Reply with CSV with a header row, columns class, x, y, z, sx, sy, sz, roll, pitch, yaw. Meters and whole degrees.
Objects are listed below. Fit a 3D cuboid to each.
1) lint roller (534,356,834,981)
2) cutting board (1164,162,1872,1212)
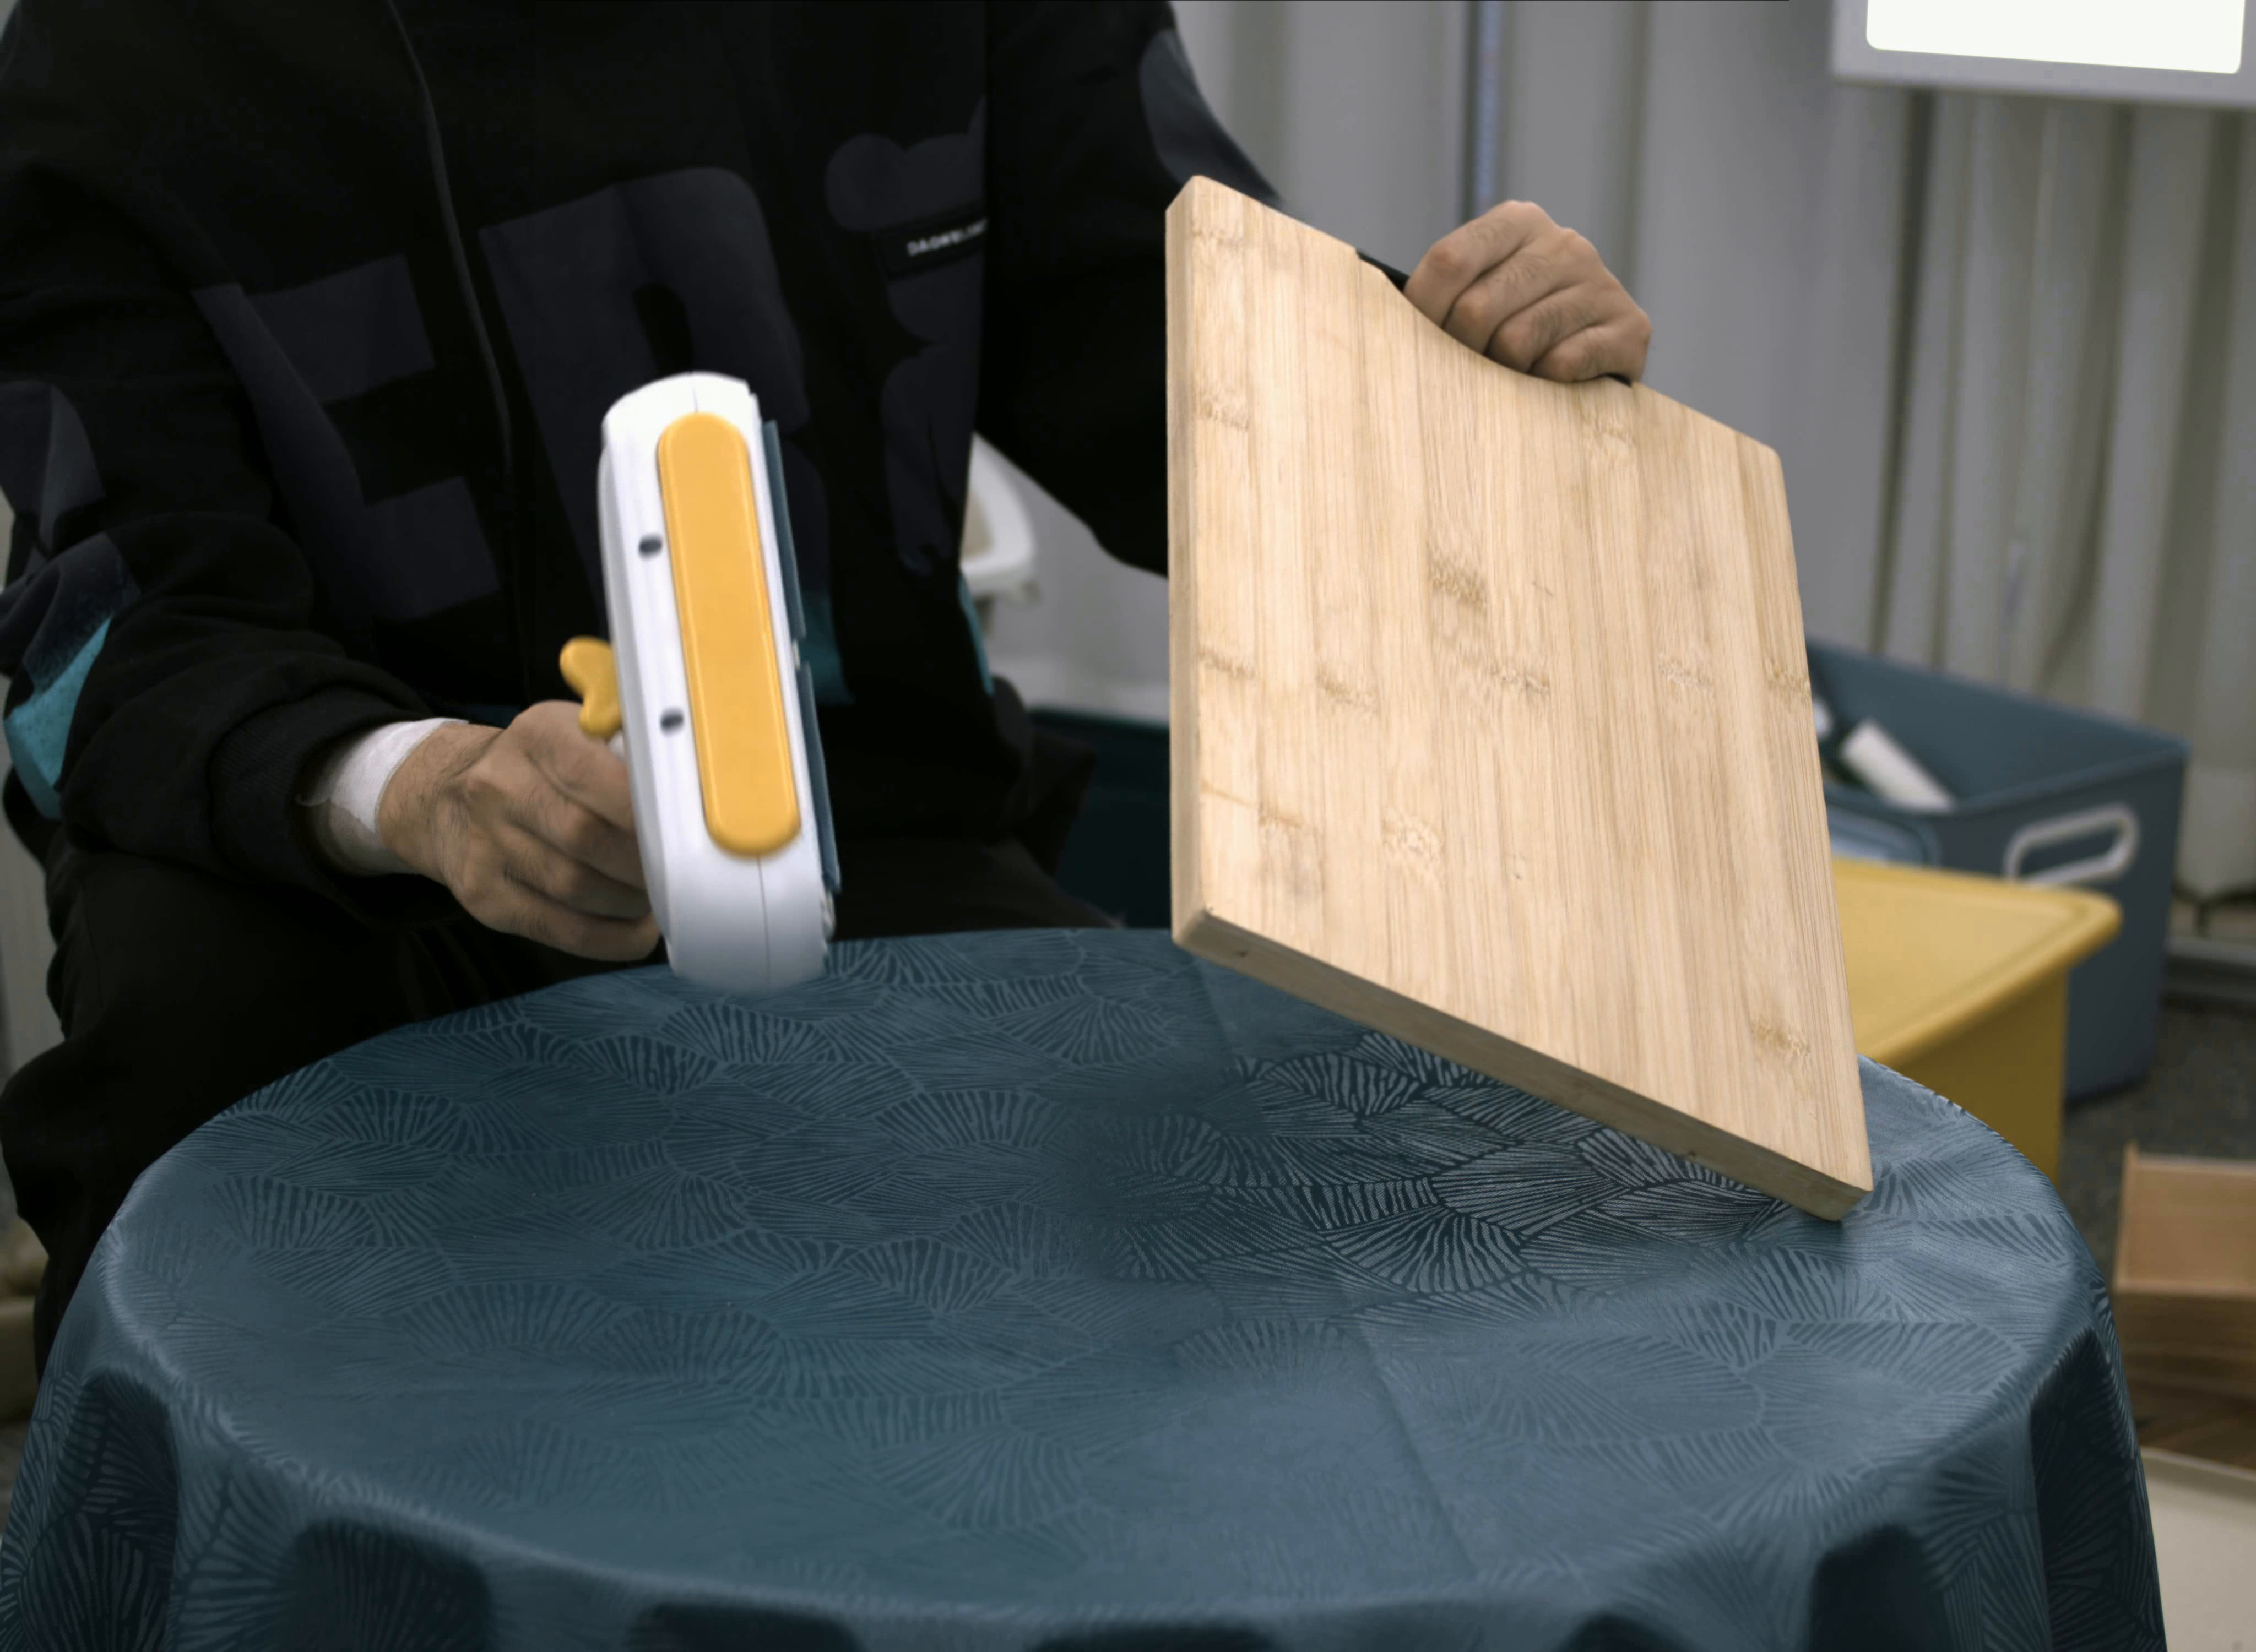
class,x,y,z,sx,sy,sz,roll,pitch,yaw
lint roller,-0.142,-0.019,1.598,0.074,0.191,0.193,-9,-25,-17
cutting board,0.119,-0.051,1.670,0.252,0.023,0.345,24,41,-23
